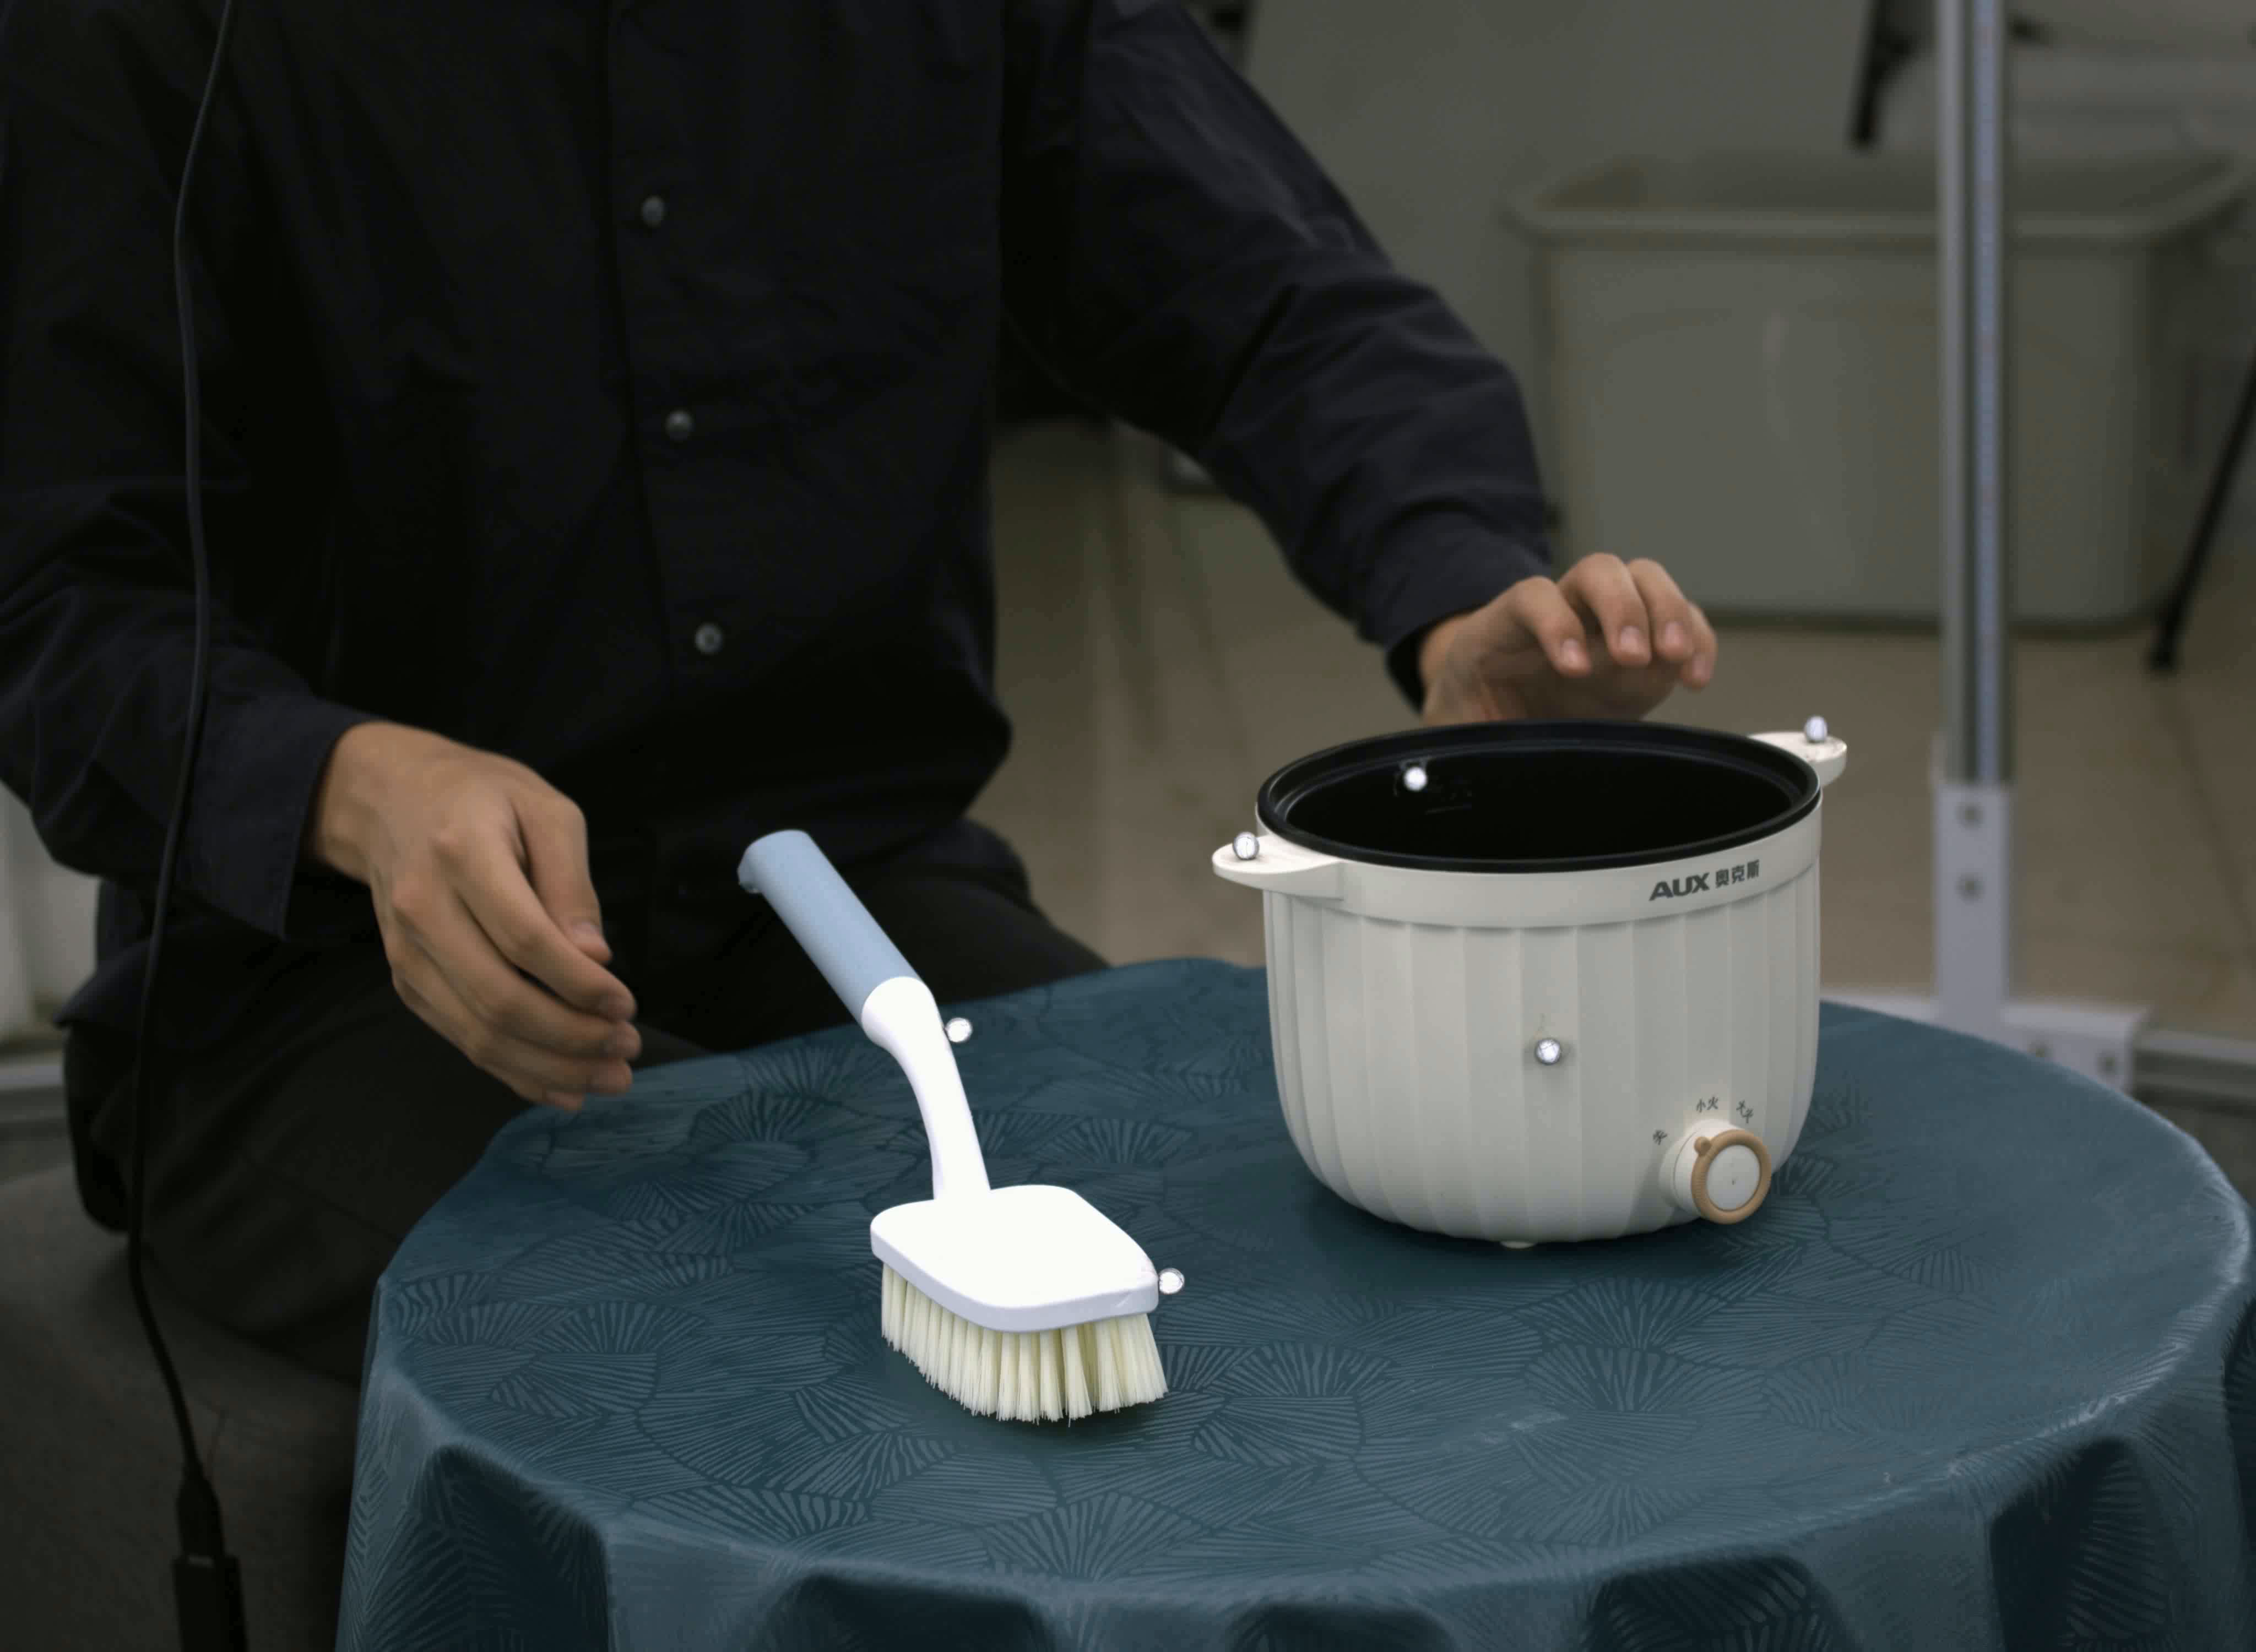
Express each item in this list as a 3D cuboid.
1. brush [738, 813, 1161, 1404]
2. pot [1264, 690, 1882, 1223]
[{"bbox_3d":[-0.061,0.100,1.692,0.081,0.085,0.329,29,10,-31],"label":"brush"},{"bbox_3d":[0.152,0.043,1.729,0.235,0.144,0.192,-13,14,-29],"label":"pot"}]
